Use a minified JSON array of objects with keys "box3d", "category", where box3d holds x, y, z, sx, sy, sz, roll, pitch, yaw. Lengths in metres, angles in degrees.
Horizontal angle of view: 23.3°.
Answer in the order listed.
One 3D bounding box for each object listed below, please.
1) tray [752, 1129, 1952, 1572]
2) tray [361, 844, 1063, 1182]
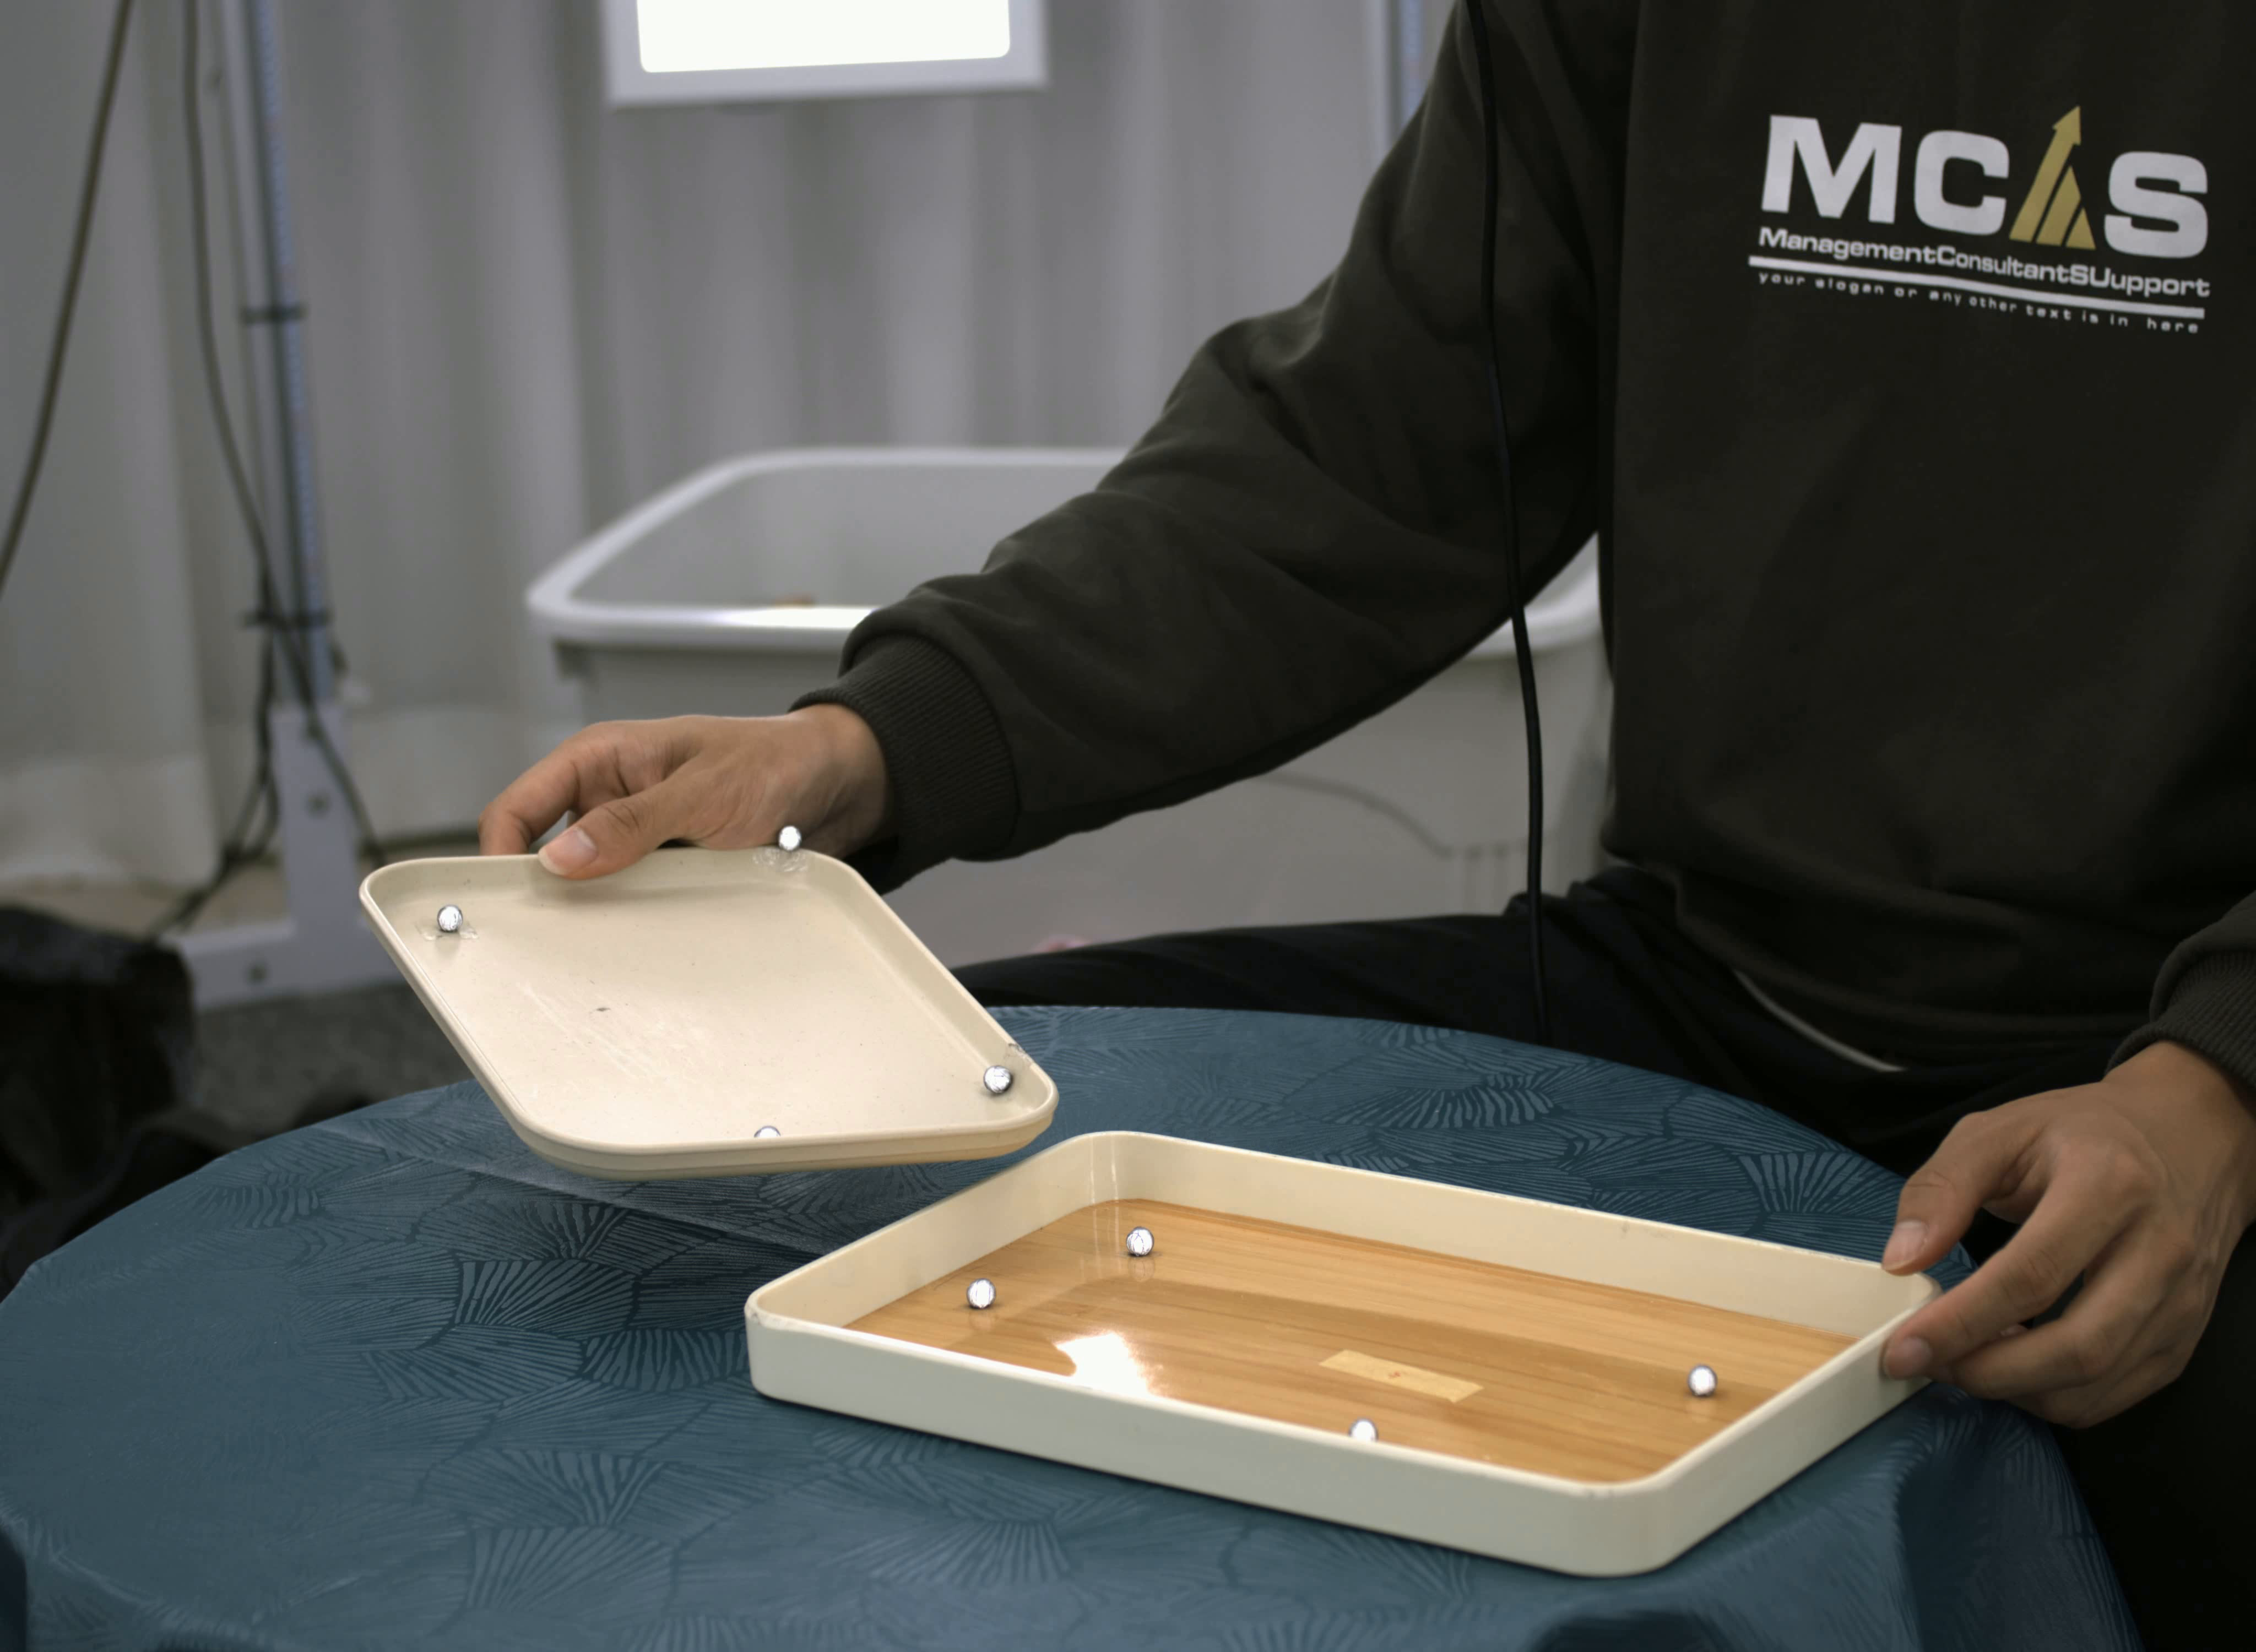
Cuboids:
[{"box3d":[0.062,0.144,1.547,0.301,0.027,0.191,8,18,34],"category":"tray"},{"box3d":[-0.134,0.057,1.710,0.170,0.017,0.242,-3,21,-22],"category":"tray"}]
